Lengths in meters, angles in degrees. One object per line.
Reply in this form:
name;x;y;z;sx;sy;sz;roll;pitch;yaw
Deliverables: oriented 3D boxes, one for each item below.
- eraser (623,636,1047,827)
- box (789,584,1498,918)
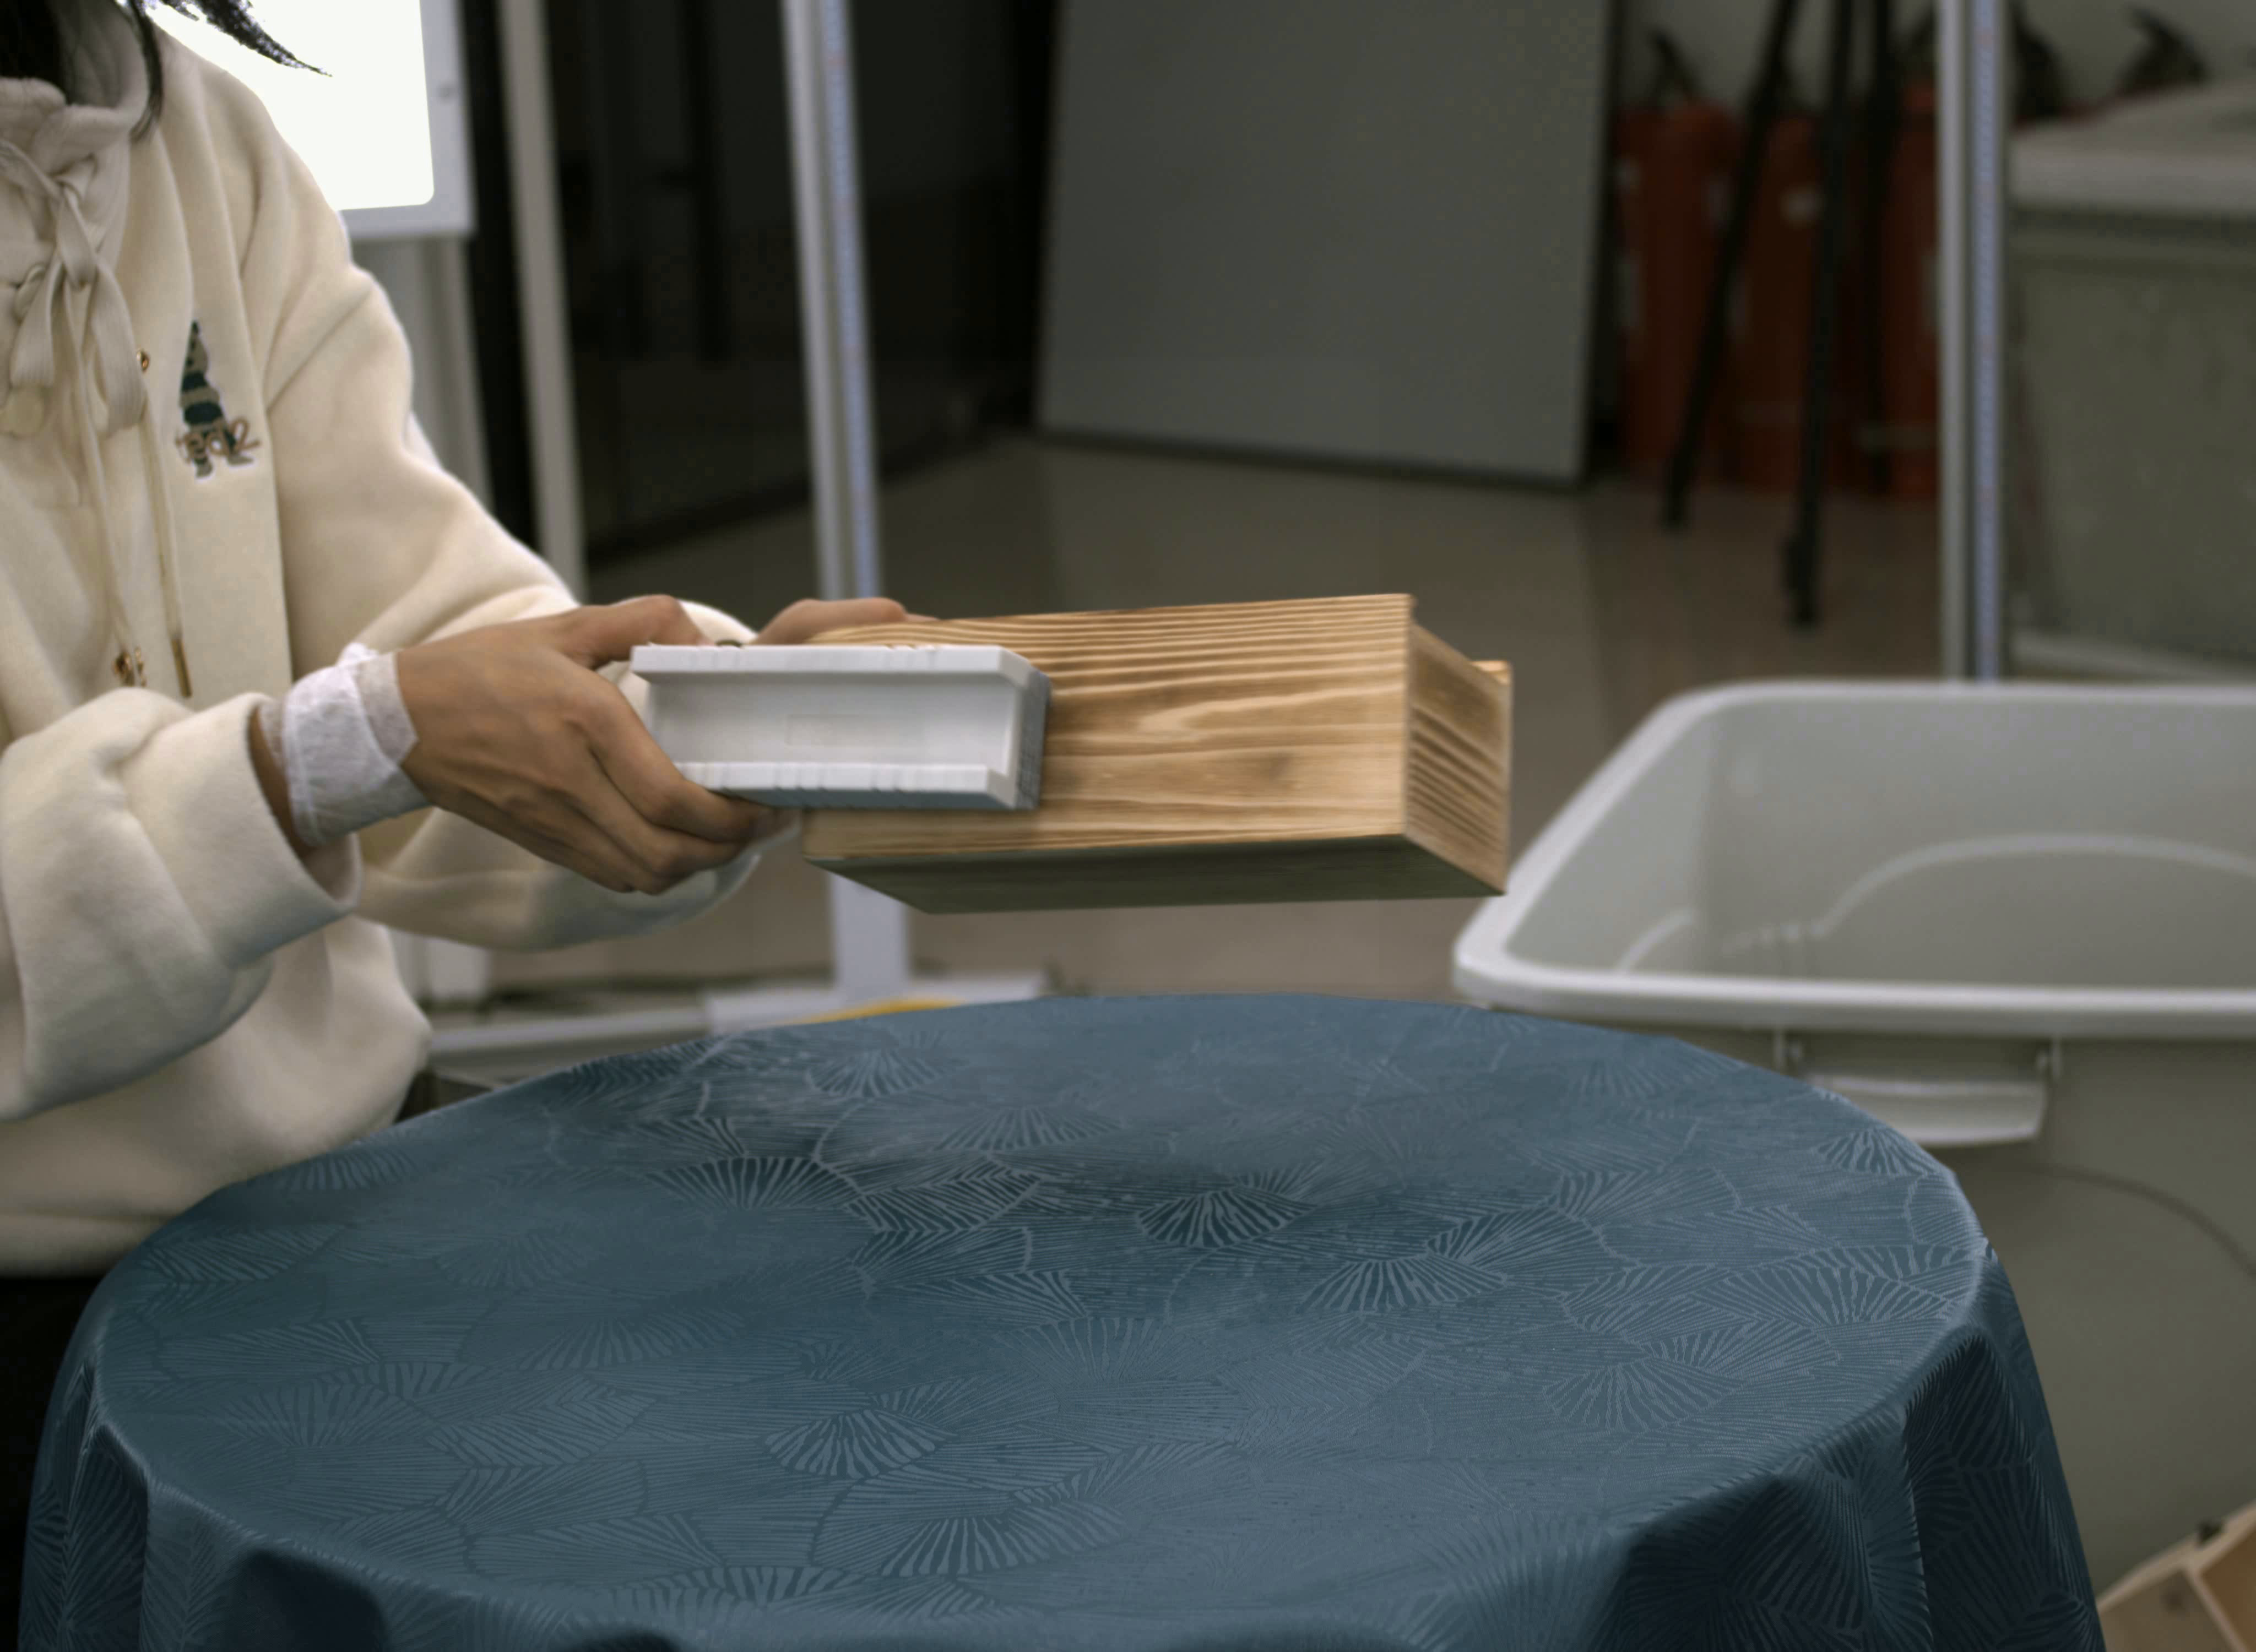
eraser;-0.094;-0.029;1.736;0.134;0.050;0.046;-2;-12;25
box;0.006;-0.022;1.774;0.211;0.081;0.106;-2;-13;23
